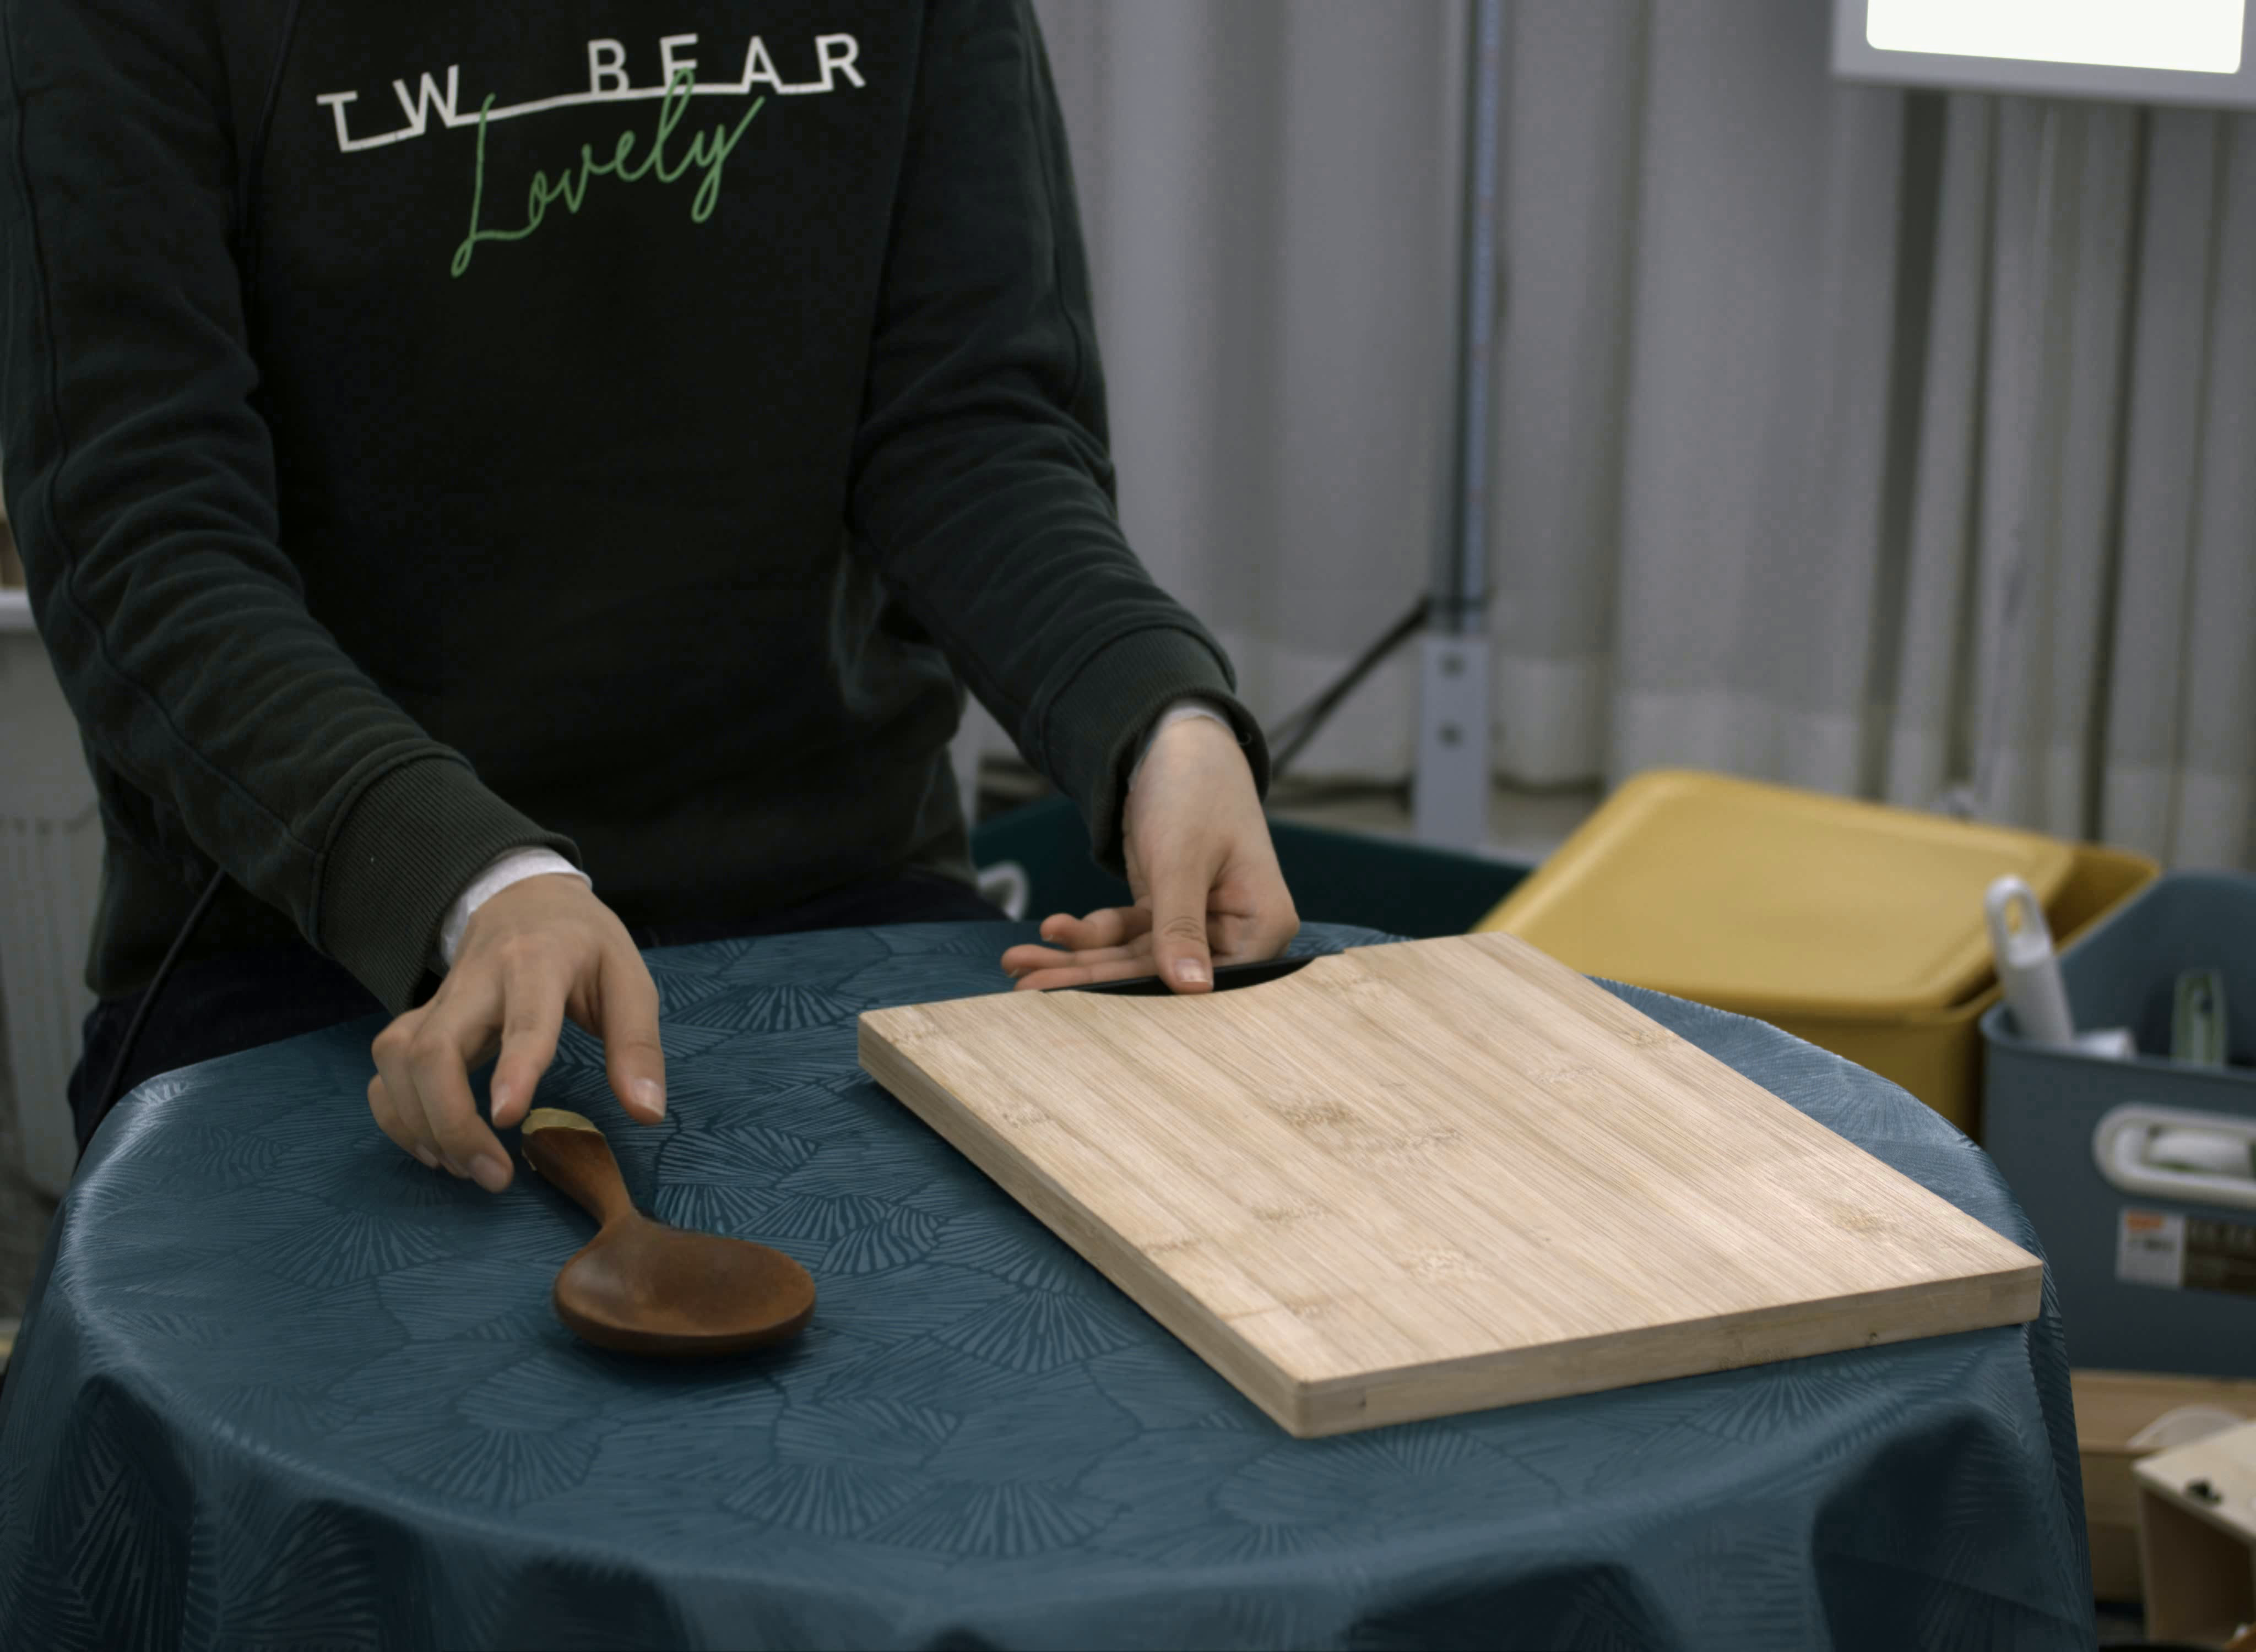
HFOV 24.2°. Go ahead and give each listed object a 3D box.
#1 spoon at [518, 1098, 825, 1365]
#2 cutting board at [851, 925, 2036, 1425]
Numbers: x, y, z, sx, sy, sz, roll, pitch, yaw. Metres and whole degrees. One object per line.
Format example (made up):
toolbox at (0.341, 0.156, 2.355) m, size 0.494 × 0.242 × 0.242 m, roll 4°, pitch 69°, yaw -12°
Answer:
spoon at (-0.146, 0.120, 1.559) m, size 0.075 × 0.017 × 0.213 m, roll -6°, pitch 18°, yaw -18°
cutting board at (0.086, 0.101, 1.629) m, size 0.251 × 0.024 × 0.344 m, roll -6°, pitch 18°, yaw -24°
